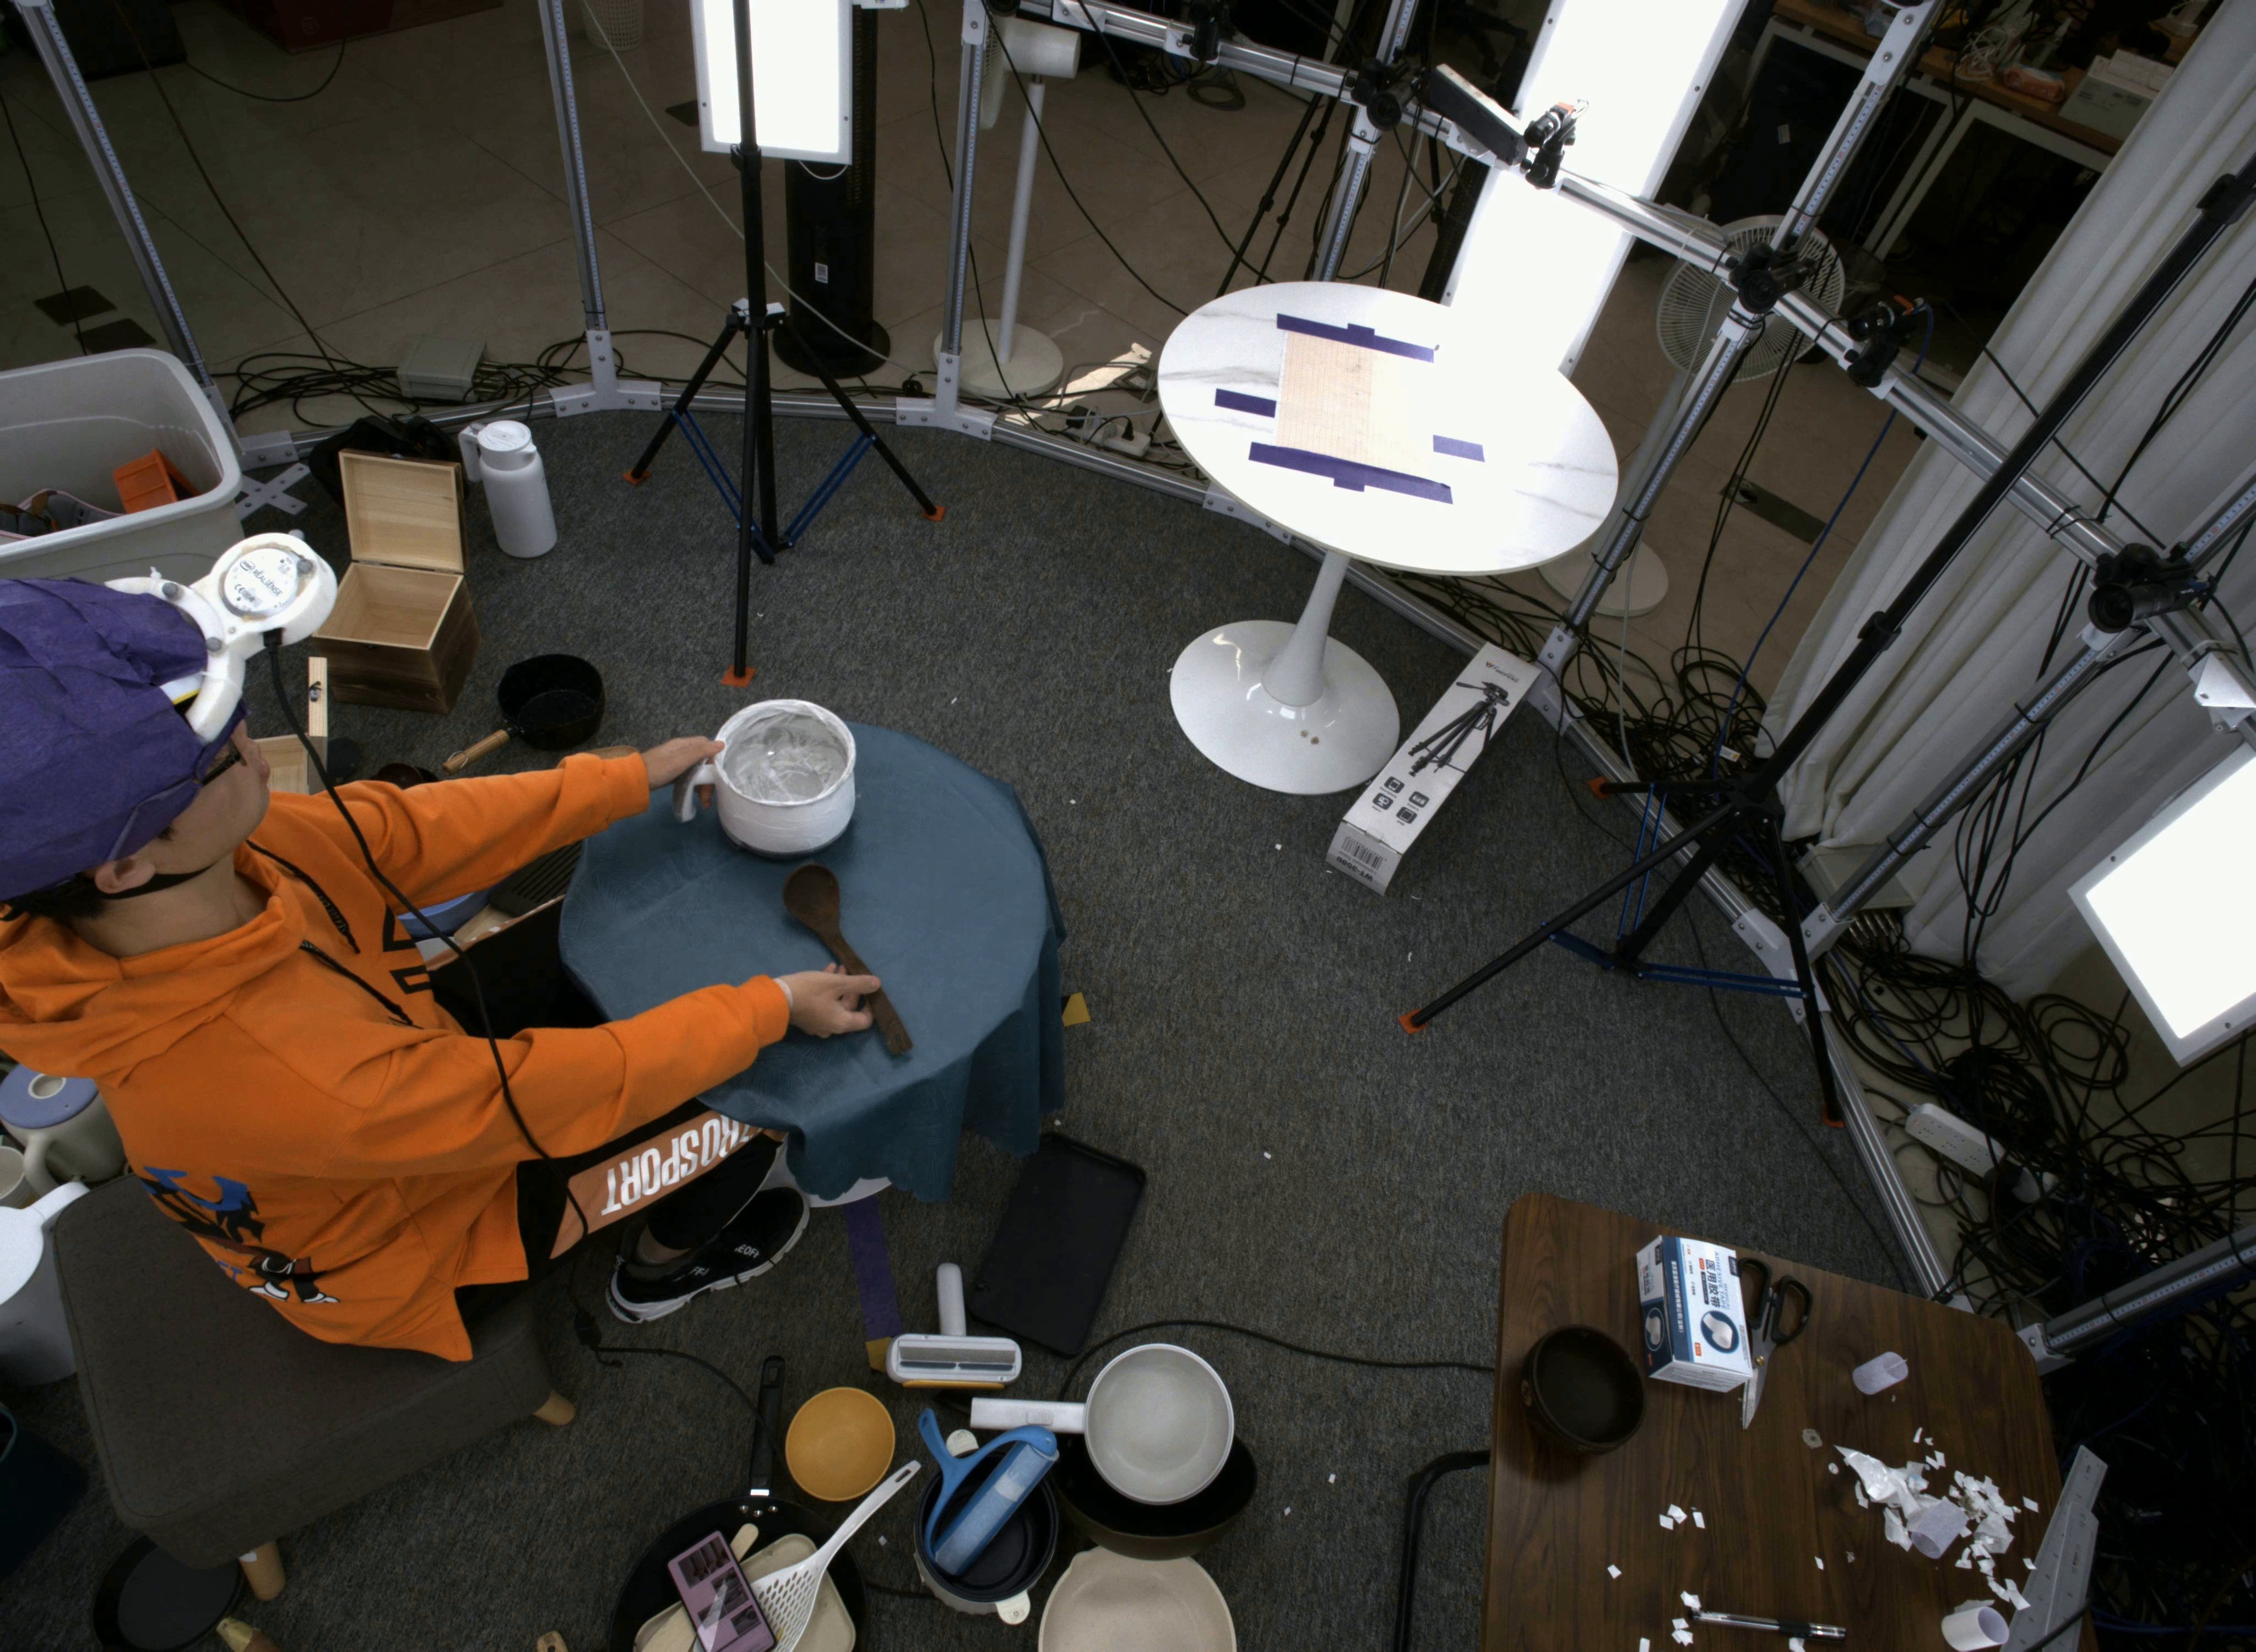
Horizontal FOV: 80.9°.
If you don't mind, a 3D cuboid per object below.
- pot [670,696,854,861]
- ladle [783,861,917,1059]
[{"bbox_3d":[-0.469,-0.055,1.654,0.235,0.139,0.174,-6,54,-19],"label":"pot"},{"bbox_3d":[-0.332,0.155,1.574,0.076,0.073,0.267,-24,61,-30],"label":"ladle"}]
